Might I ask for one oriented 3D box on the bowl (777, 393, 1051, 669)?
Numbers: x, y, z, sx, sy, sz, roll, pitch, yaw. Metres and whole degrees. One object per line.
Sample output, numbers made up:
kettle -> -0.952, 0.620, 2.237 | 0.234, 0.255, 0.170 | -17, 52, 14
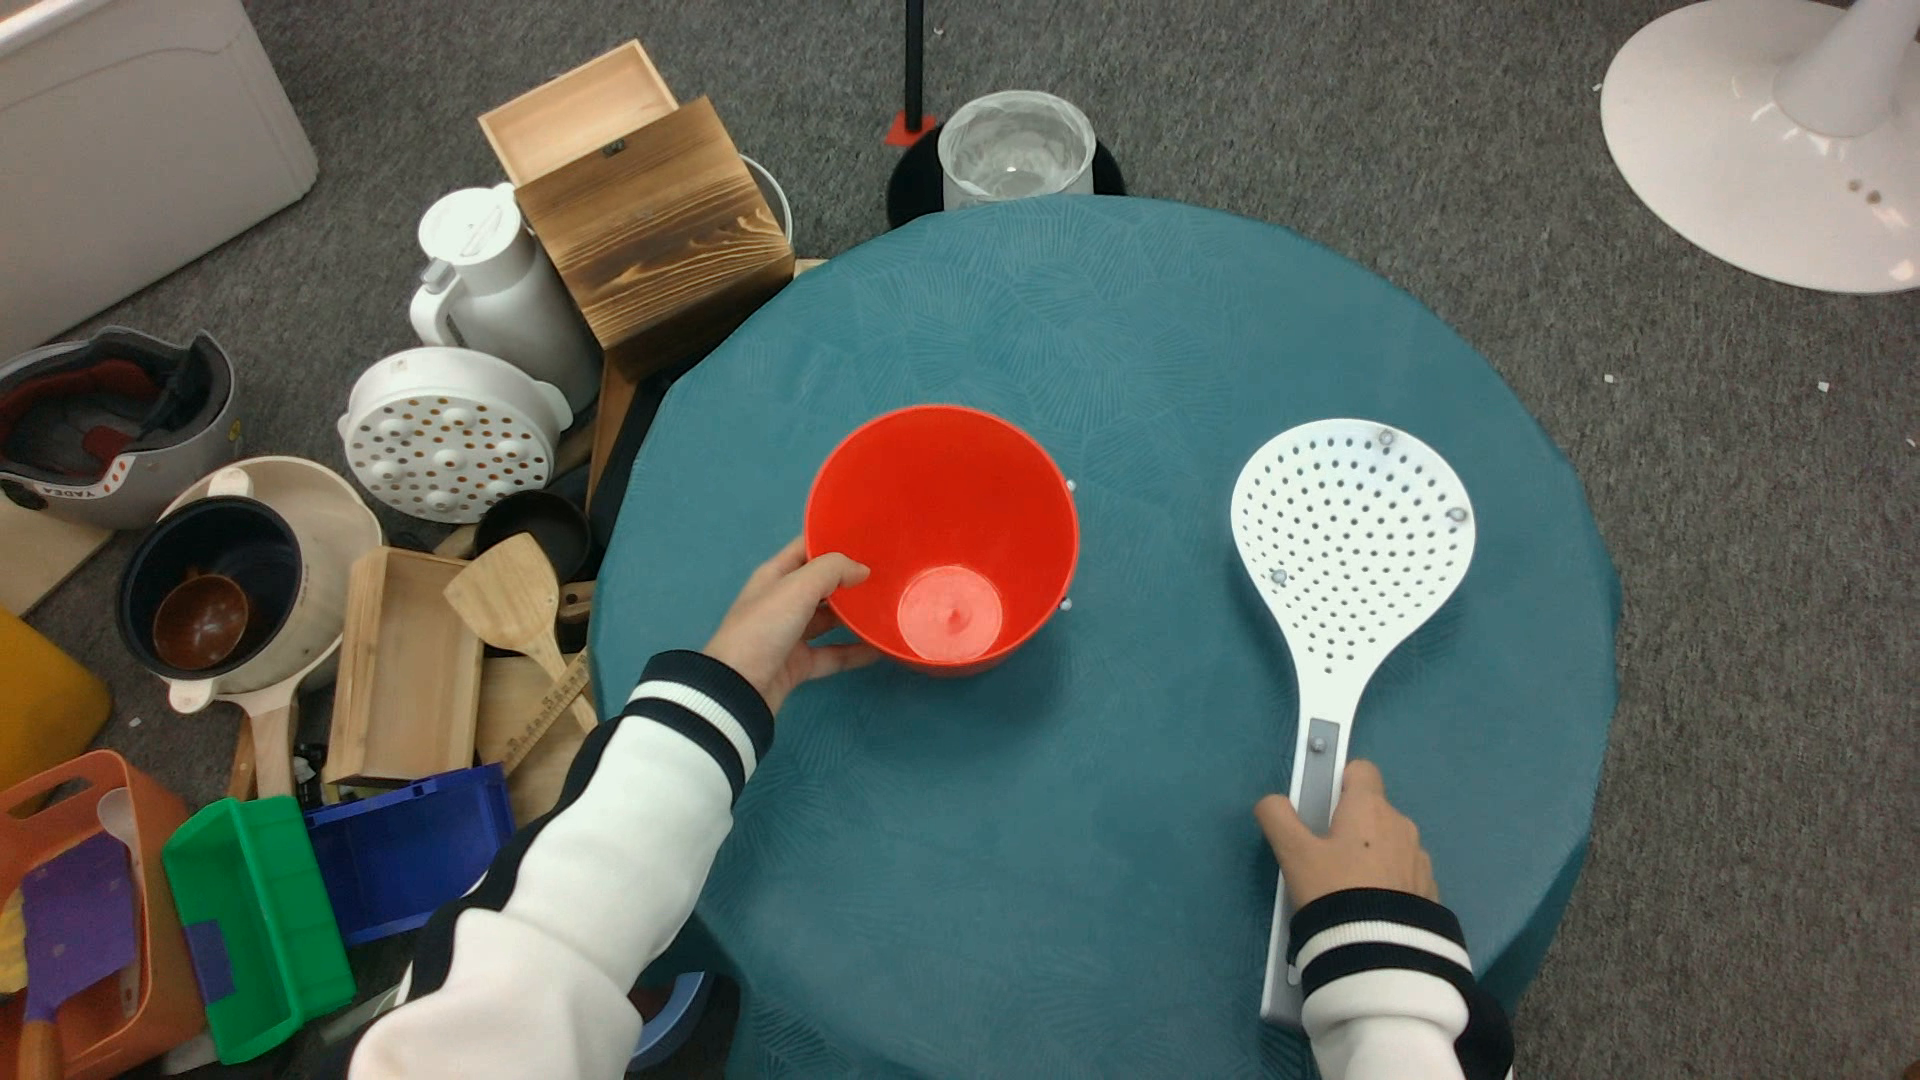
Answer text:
bowl -> -0.027, 0.008, 0.771 | 0.148, 0.104, 0.148 | 3, 61, -5

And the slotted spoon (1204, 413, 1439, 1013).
slotted spoon -> 0.184, 0.081, 0.757 | 0.136, 0.045, 0.351 | 12, 58, 7
